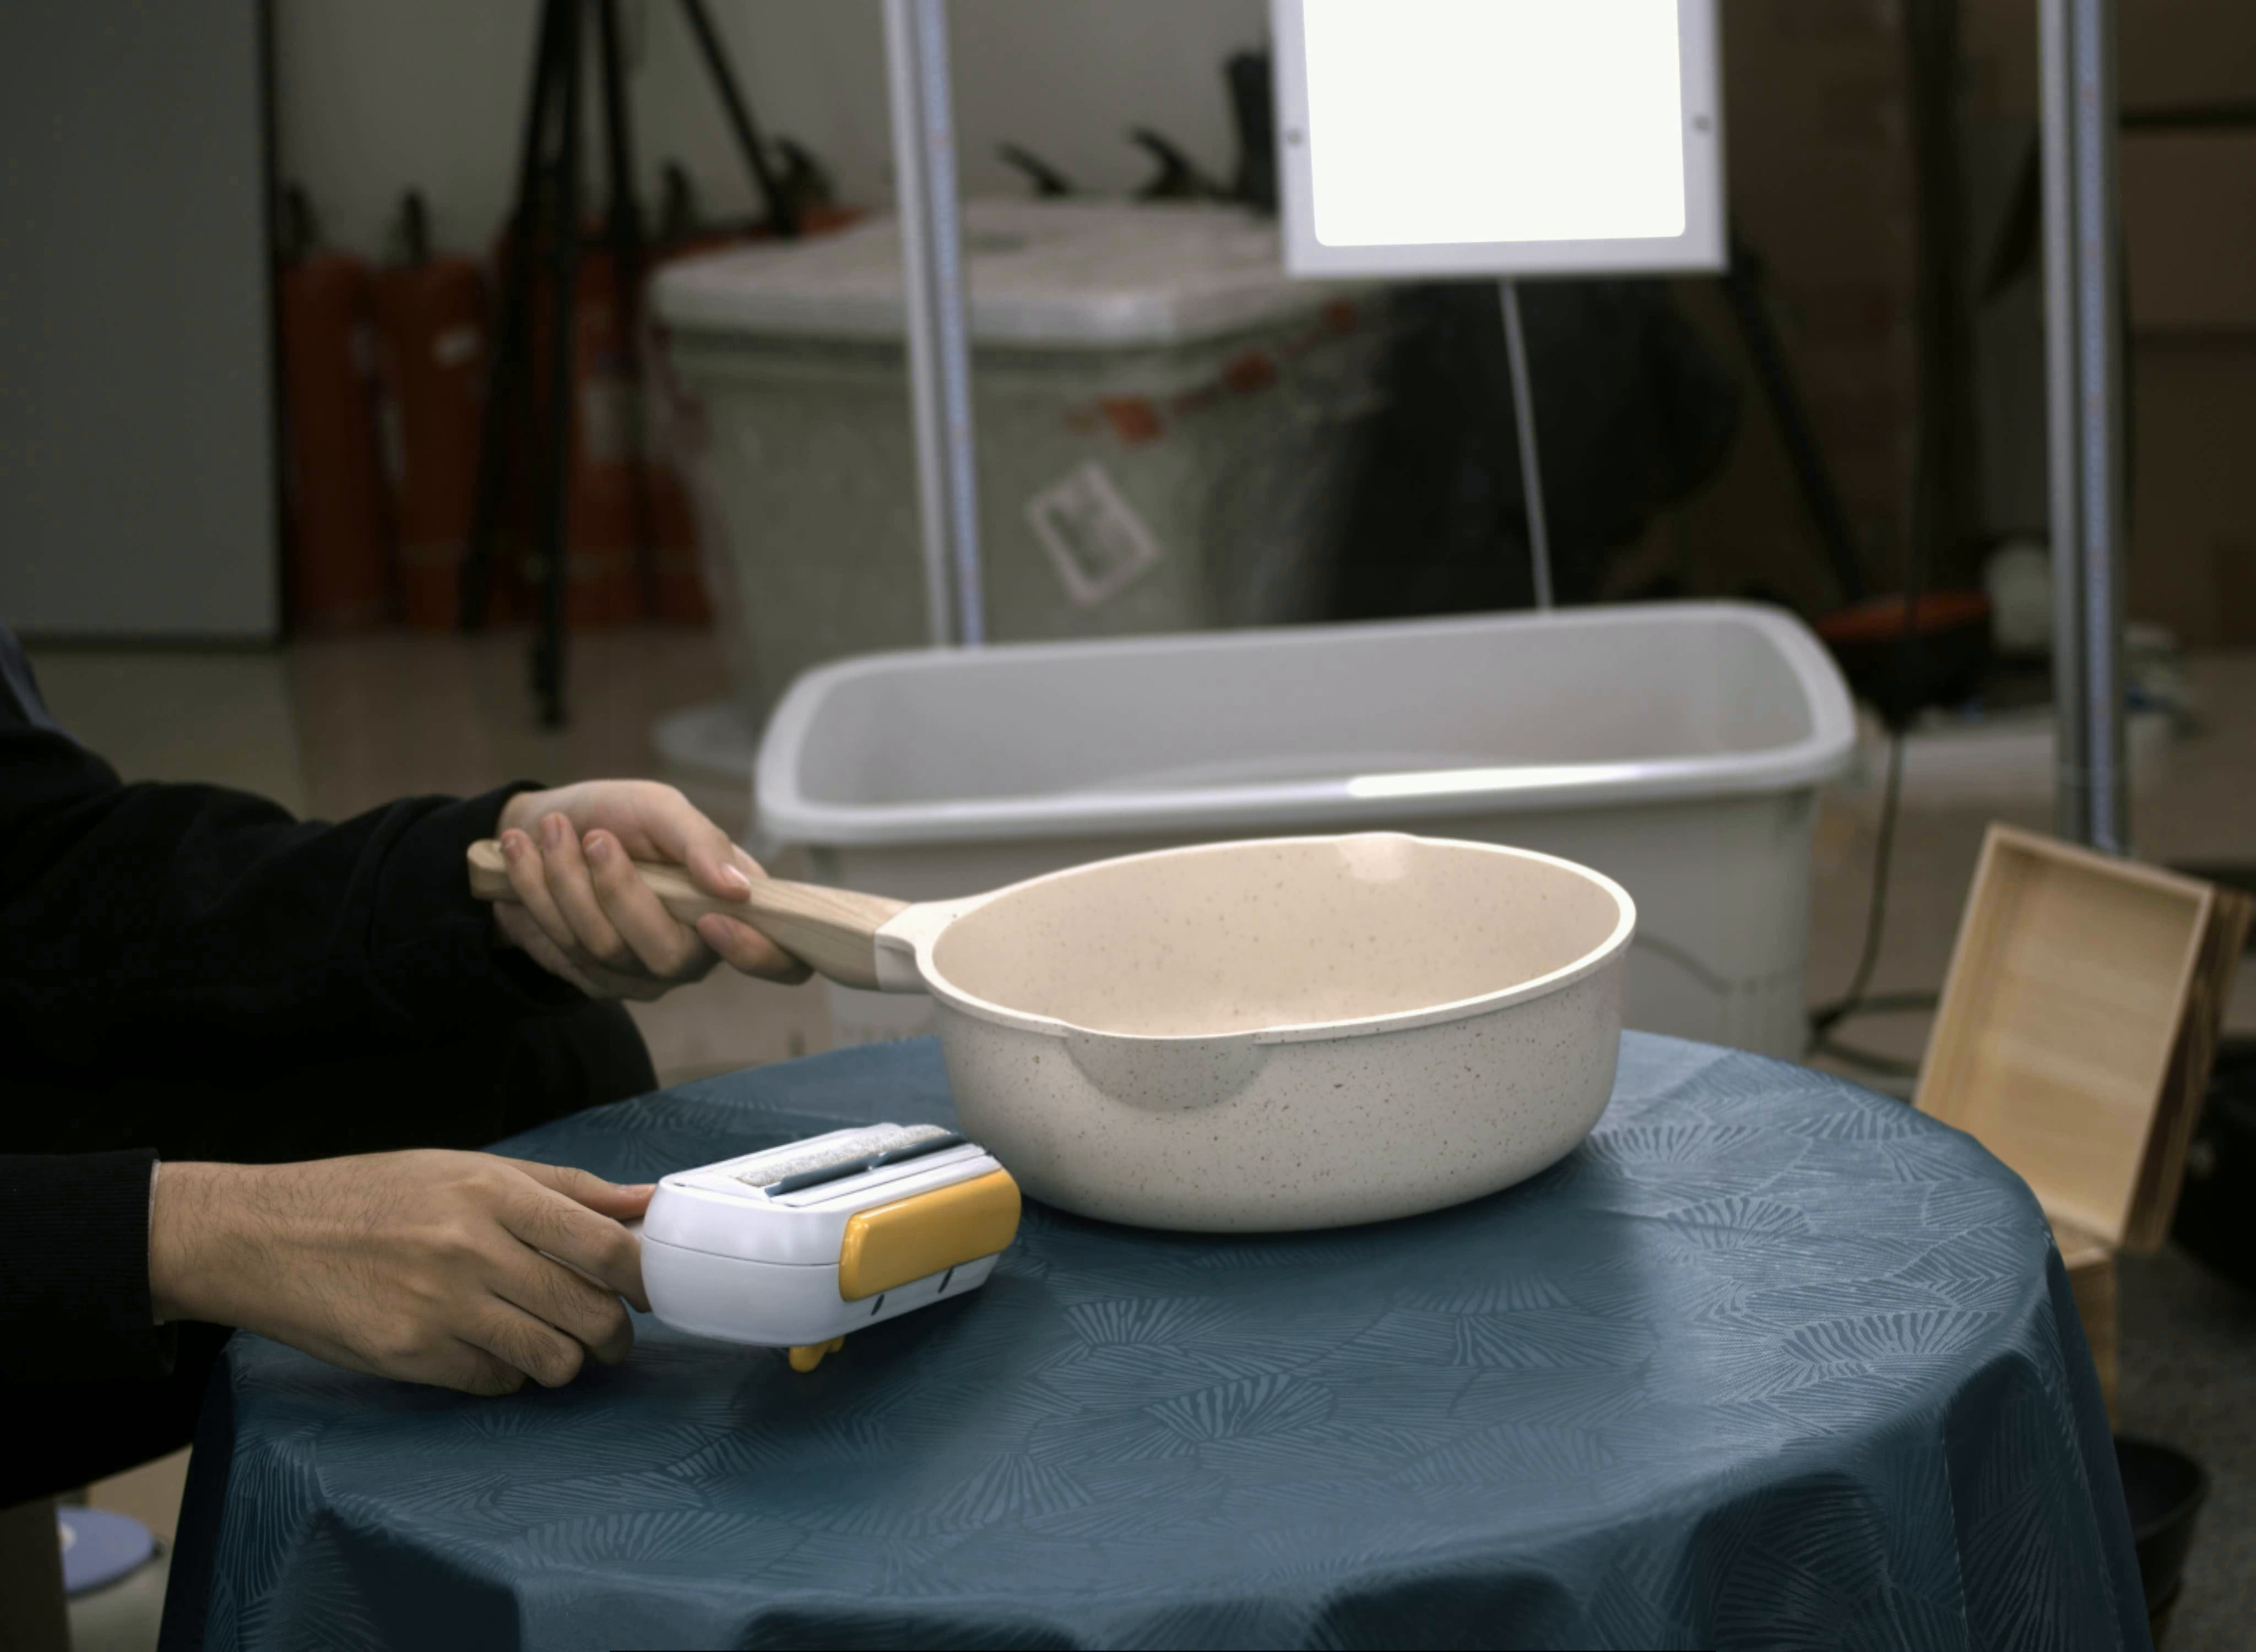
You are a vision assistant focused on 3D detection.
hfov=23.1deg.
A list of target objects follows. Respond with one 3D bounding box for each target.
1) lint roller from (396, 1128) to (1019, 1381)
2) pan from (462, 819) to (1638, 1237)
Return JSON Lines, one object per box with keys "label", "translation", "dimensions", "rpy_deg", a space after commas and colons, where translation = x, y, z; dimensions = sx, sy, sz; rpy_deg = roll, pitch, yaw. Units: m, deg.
{"label": "lint roller", "translation": [-0.149, 0.136, 1.766], "dimensions": [0.195, 0.074, 0.189], "rpy_deg": [0, 7, 25]}
{"label": "pan", "translation": [-0.032, 0.064, 1.951], "dimensions": [0.441, 0.102, 0.259], "rpy_deg": [1, 17, 21]}
